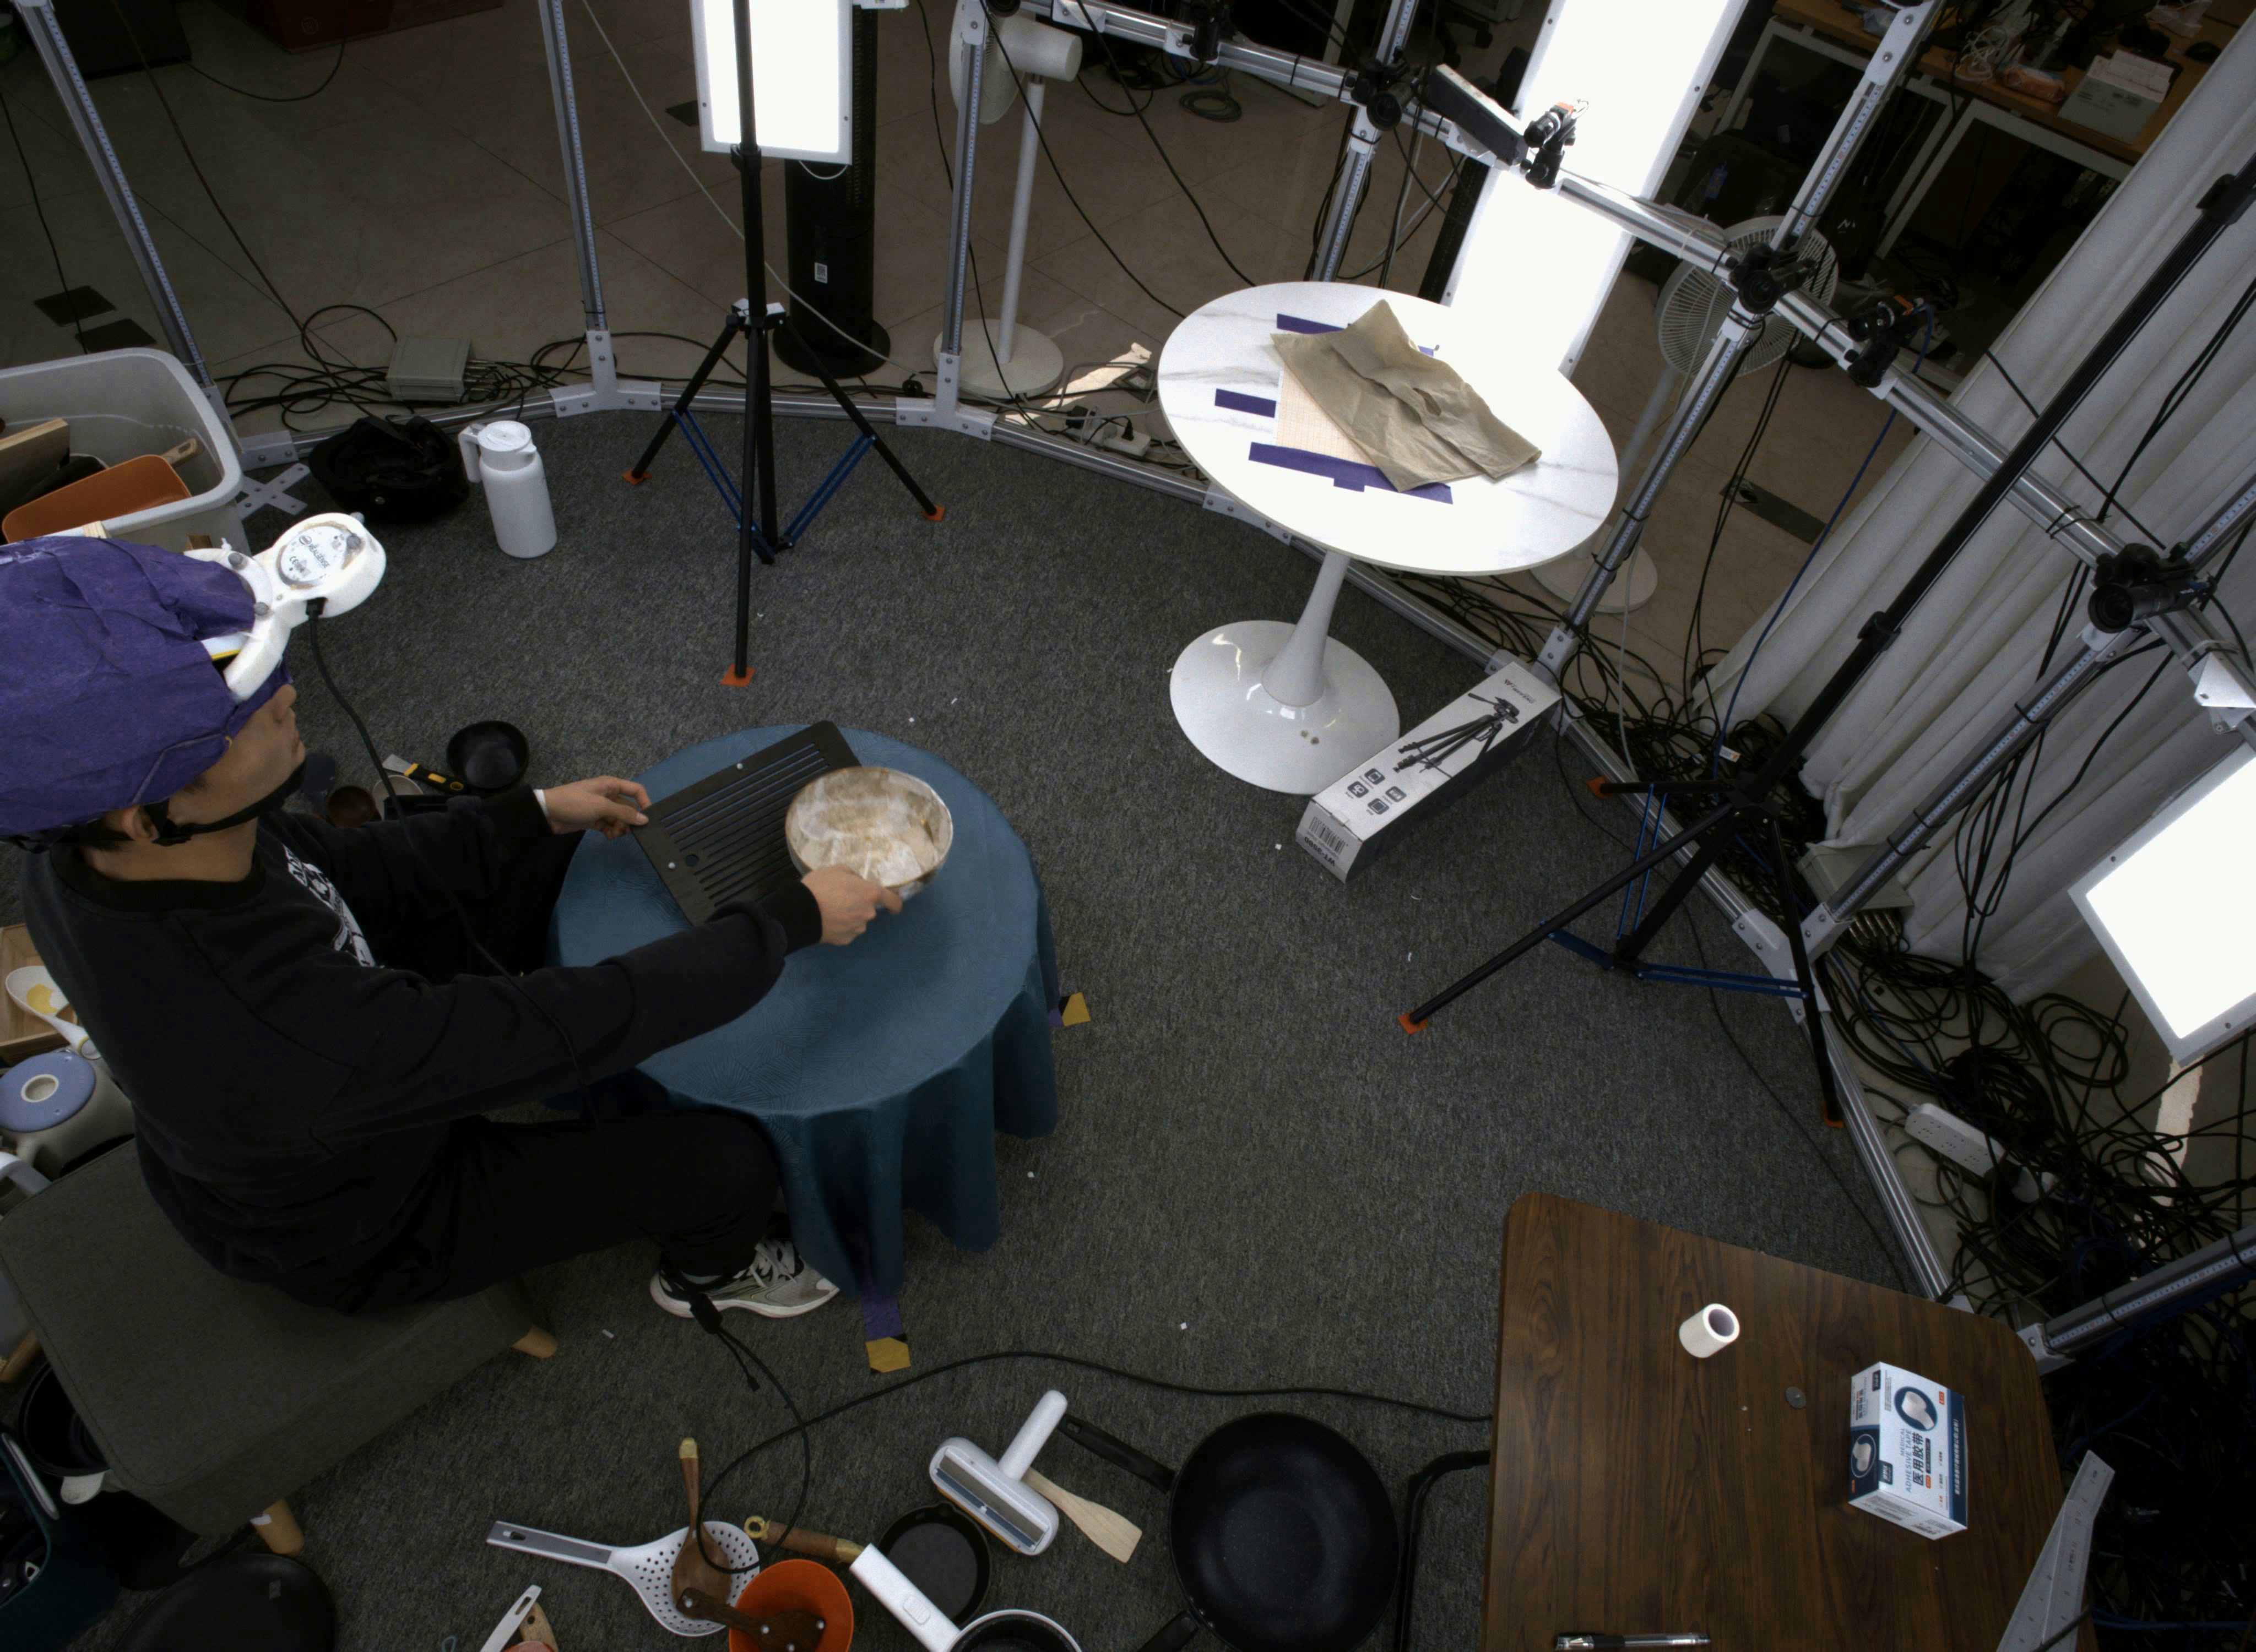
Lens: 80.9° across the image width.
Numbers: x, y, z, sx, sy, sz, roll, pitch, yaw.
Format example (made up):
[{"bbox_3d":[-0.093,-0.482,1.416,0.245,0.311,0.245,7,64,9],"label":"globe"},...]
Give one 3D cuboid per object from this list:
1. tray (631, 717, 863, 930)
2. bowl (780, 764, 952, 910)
[{"bbox_3d":[-0.471,-0.009,1.674,0.307,0.018,0.171,-33,90,-32],"label":"tray"},{"bbox_3d":[-0.327,0.029,1.617,0.214,0.096,0.210,9,47,-9],"label":"bowl"}]
